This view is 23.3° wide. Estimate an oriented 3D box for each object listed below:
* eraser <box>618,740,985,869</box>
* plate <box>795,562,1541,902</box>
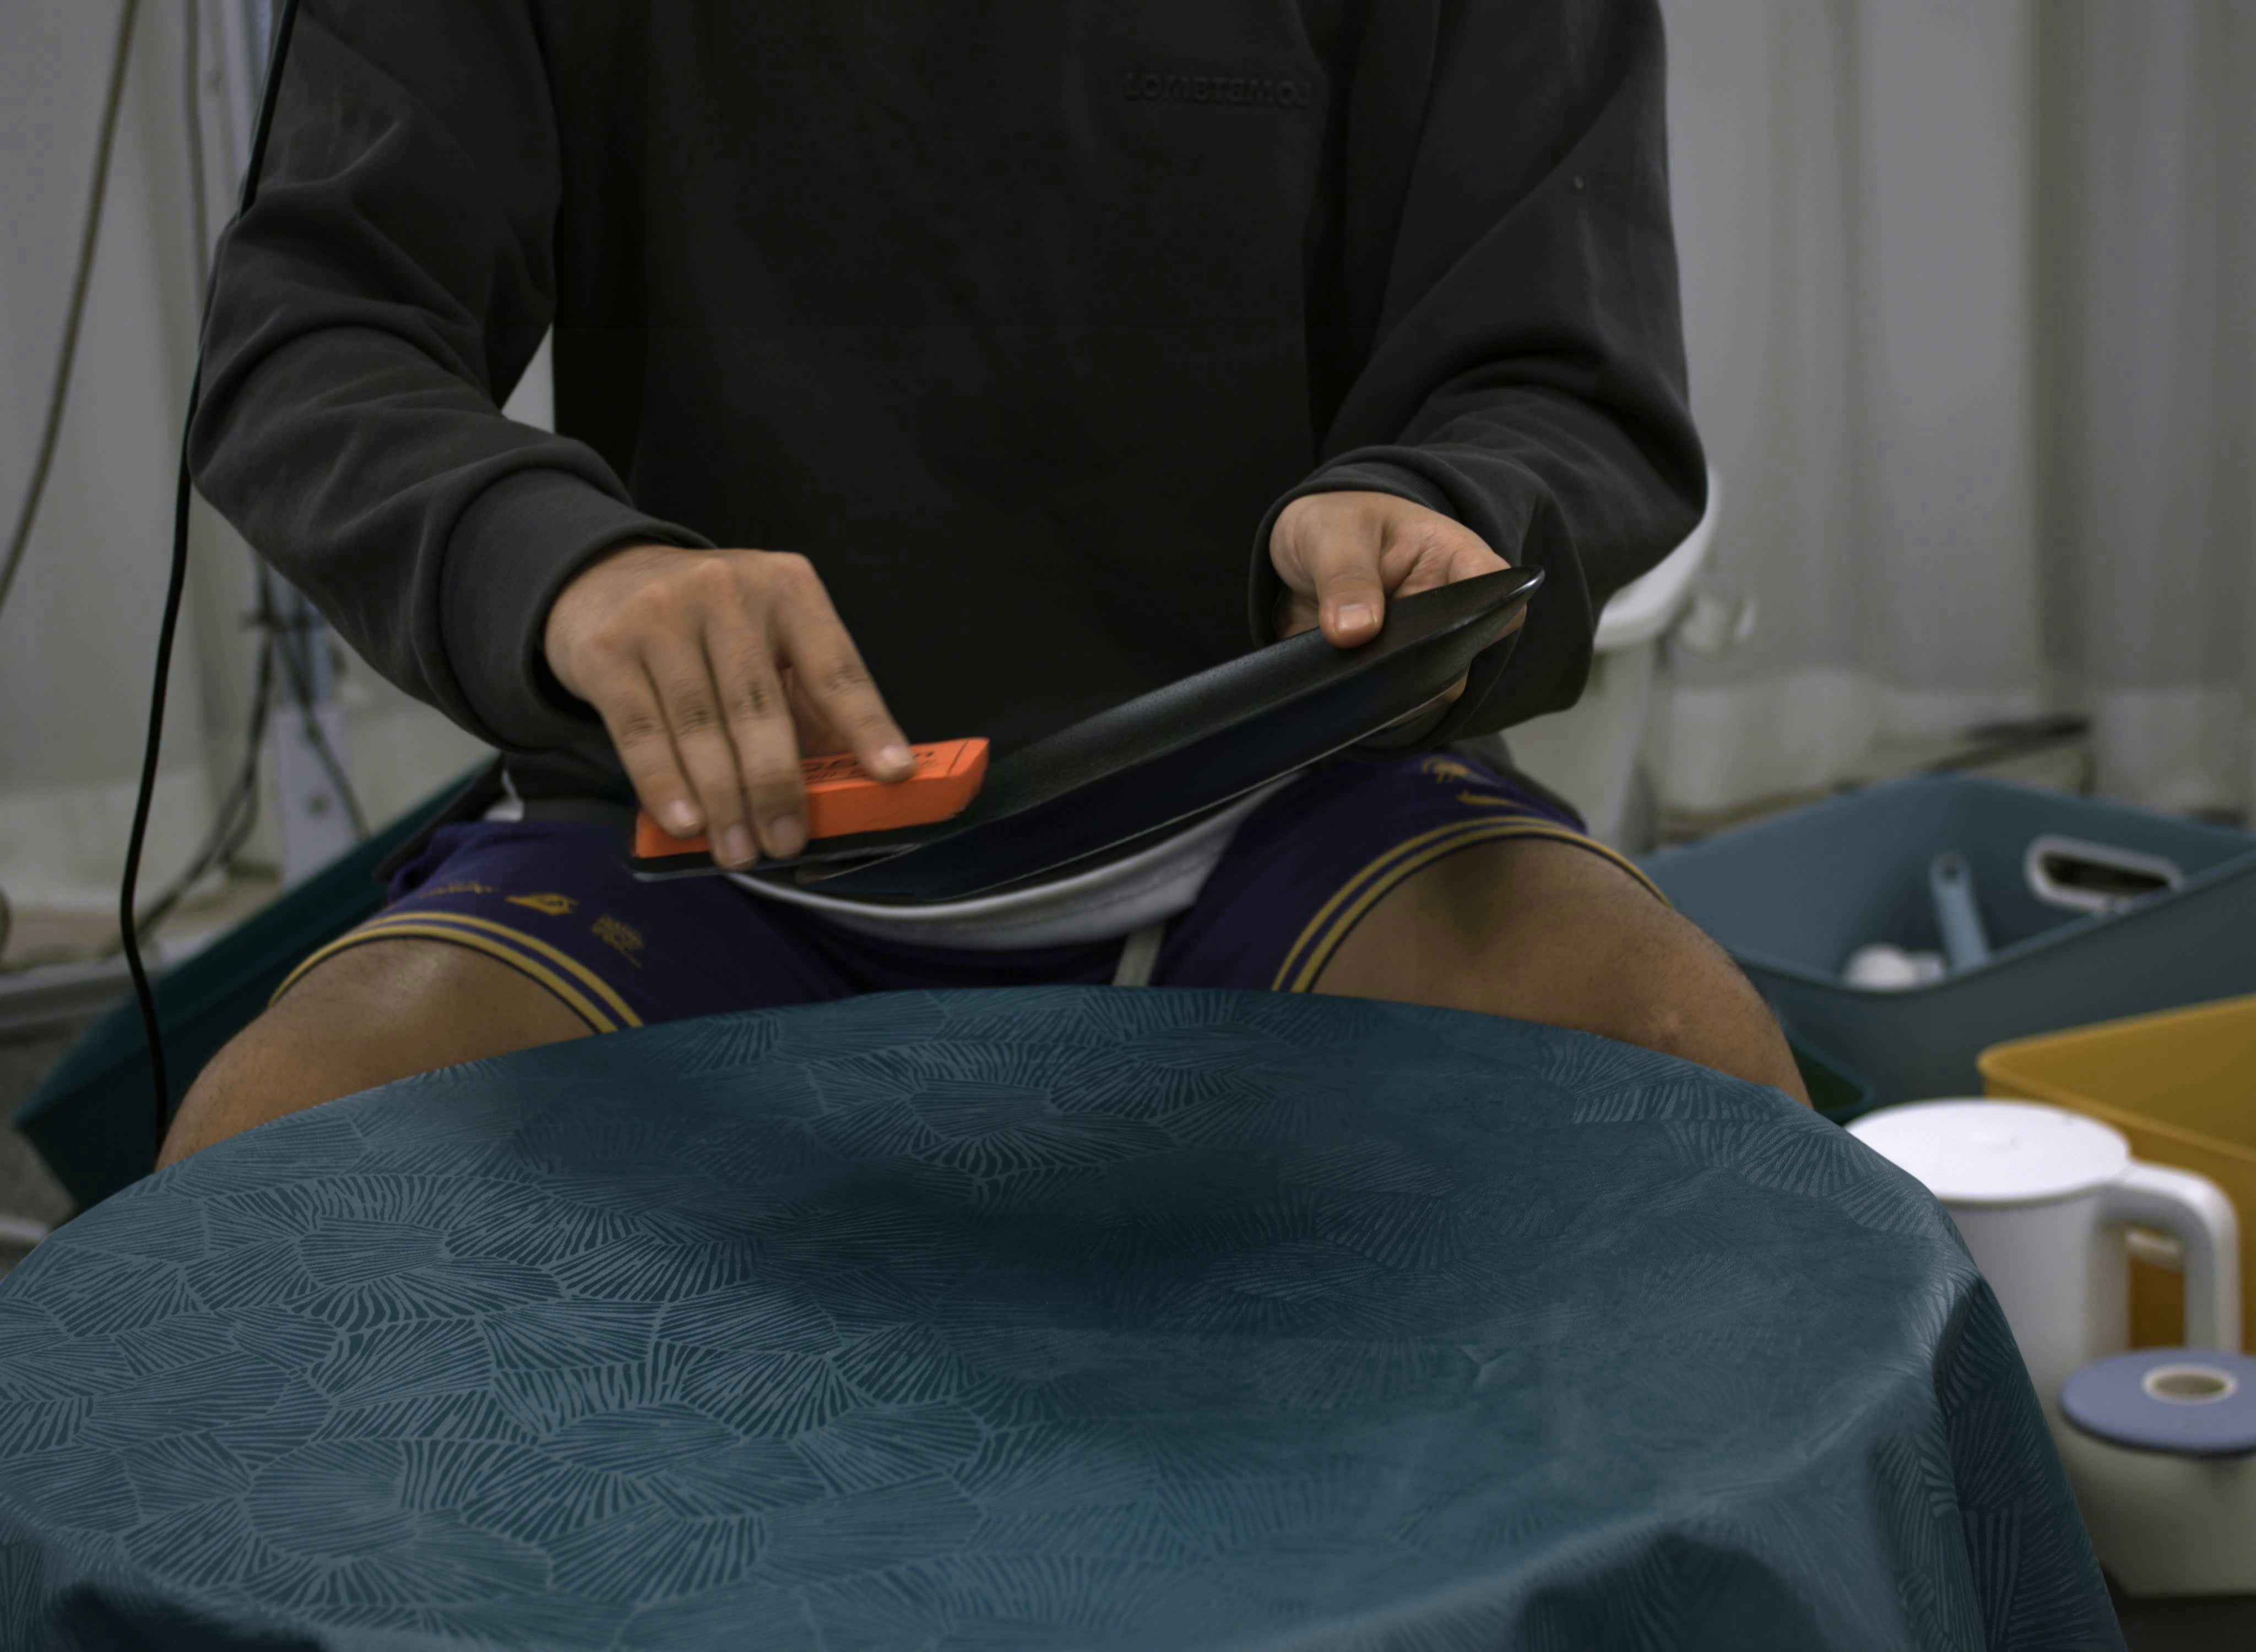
[{"bbox_3d":[-0.100,-0.007,1.691,0.108,0.023,0.059,-5,11,9],"label":"eraser"},{"bbox_3d":[0.015,-0.023,1.649,0.244,0.023,0.245,-23,5,2],"label":"plate"}]
